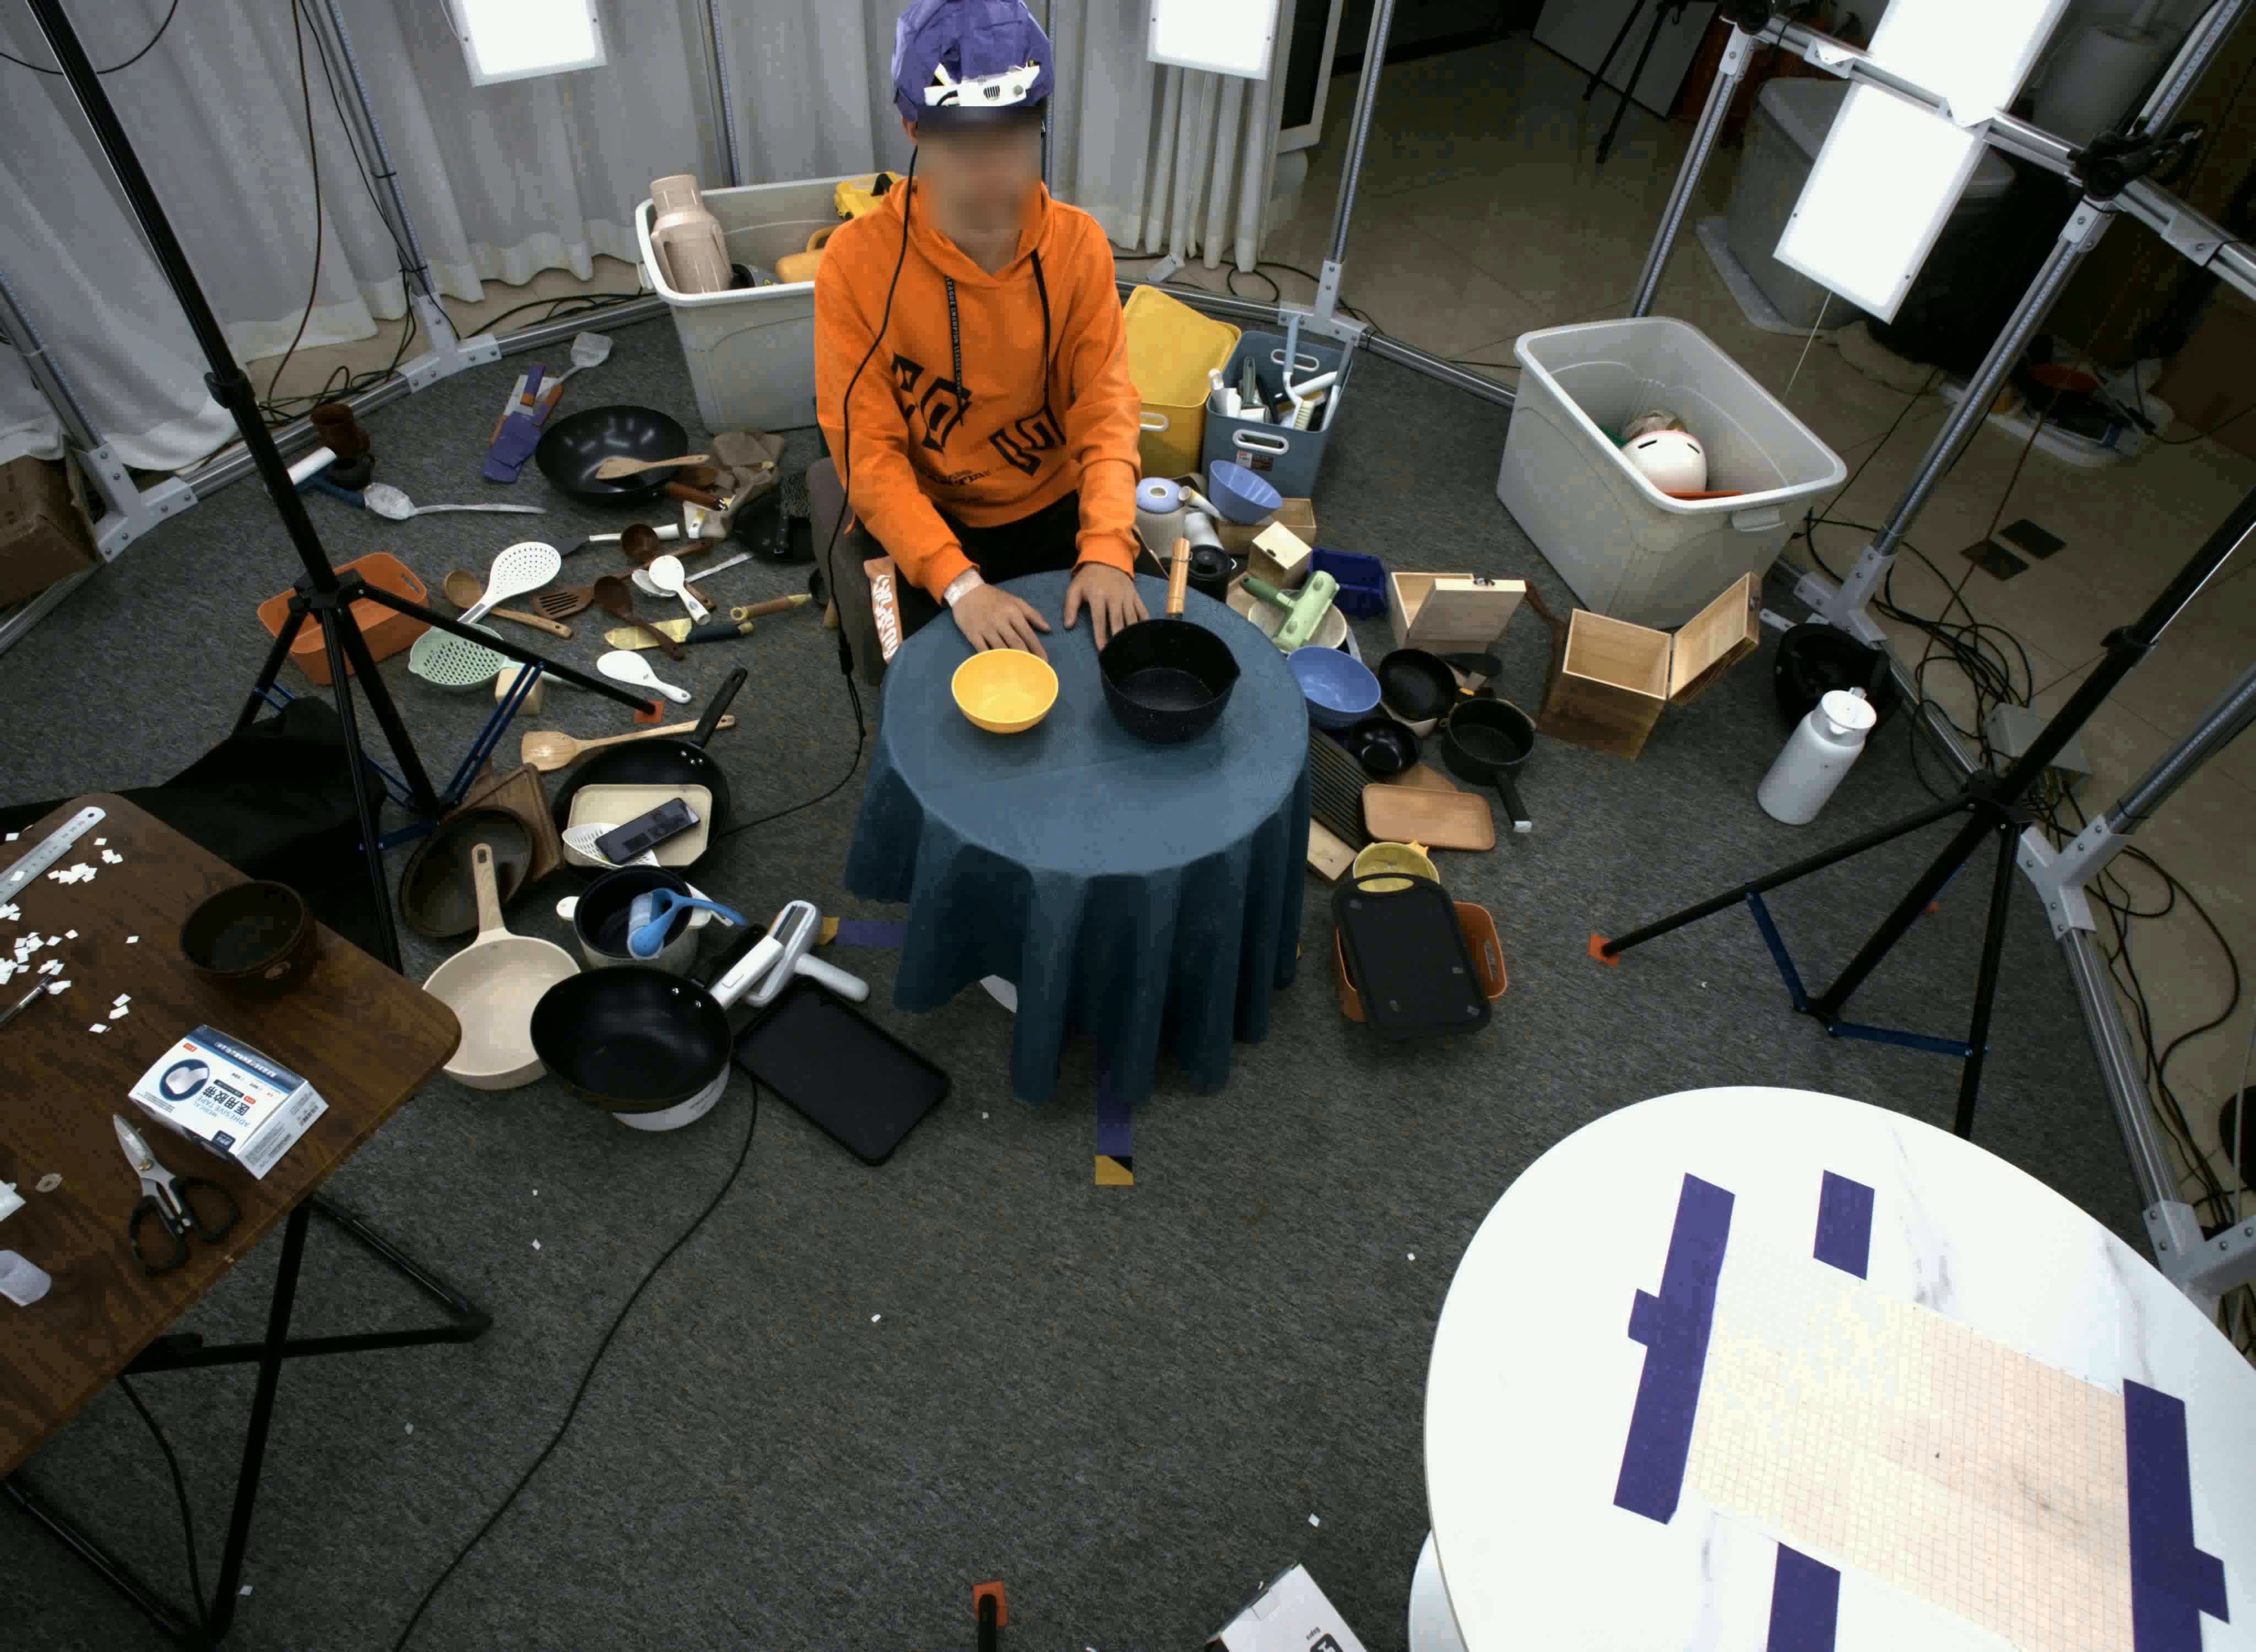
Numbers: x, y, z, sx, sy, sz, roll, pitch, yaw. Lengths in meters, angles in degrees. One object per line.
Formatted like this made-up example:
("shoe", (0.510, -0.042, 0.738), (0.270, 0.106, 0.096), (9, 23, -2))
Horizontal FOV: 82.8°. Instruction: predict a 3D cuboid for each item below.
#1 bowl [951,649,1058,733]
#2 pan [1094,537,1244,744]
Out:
("bowl", (-0.170, -0.175, 1.771), (0.145, 0.058, 0.149), (2, 48, -3))
("pan", (0.061, -0.265, 1.834), (0.207, 0.105, 0.351), (5, 50, 2))
